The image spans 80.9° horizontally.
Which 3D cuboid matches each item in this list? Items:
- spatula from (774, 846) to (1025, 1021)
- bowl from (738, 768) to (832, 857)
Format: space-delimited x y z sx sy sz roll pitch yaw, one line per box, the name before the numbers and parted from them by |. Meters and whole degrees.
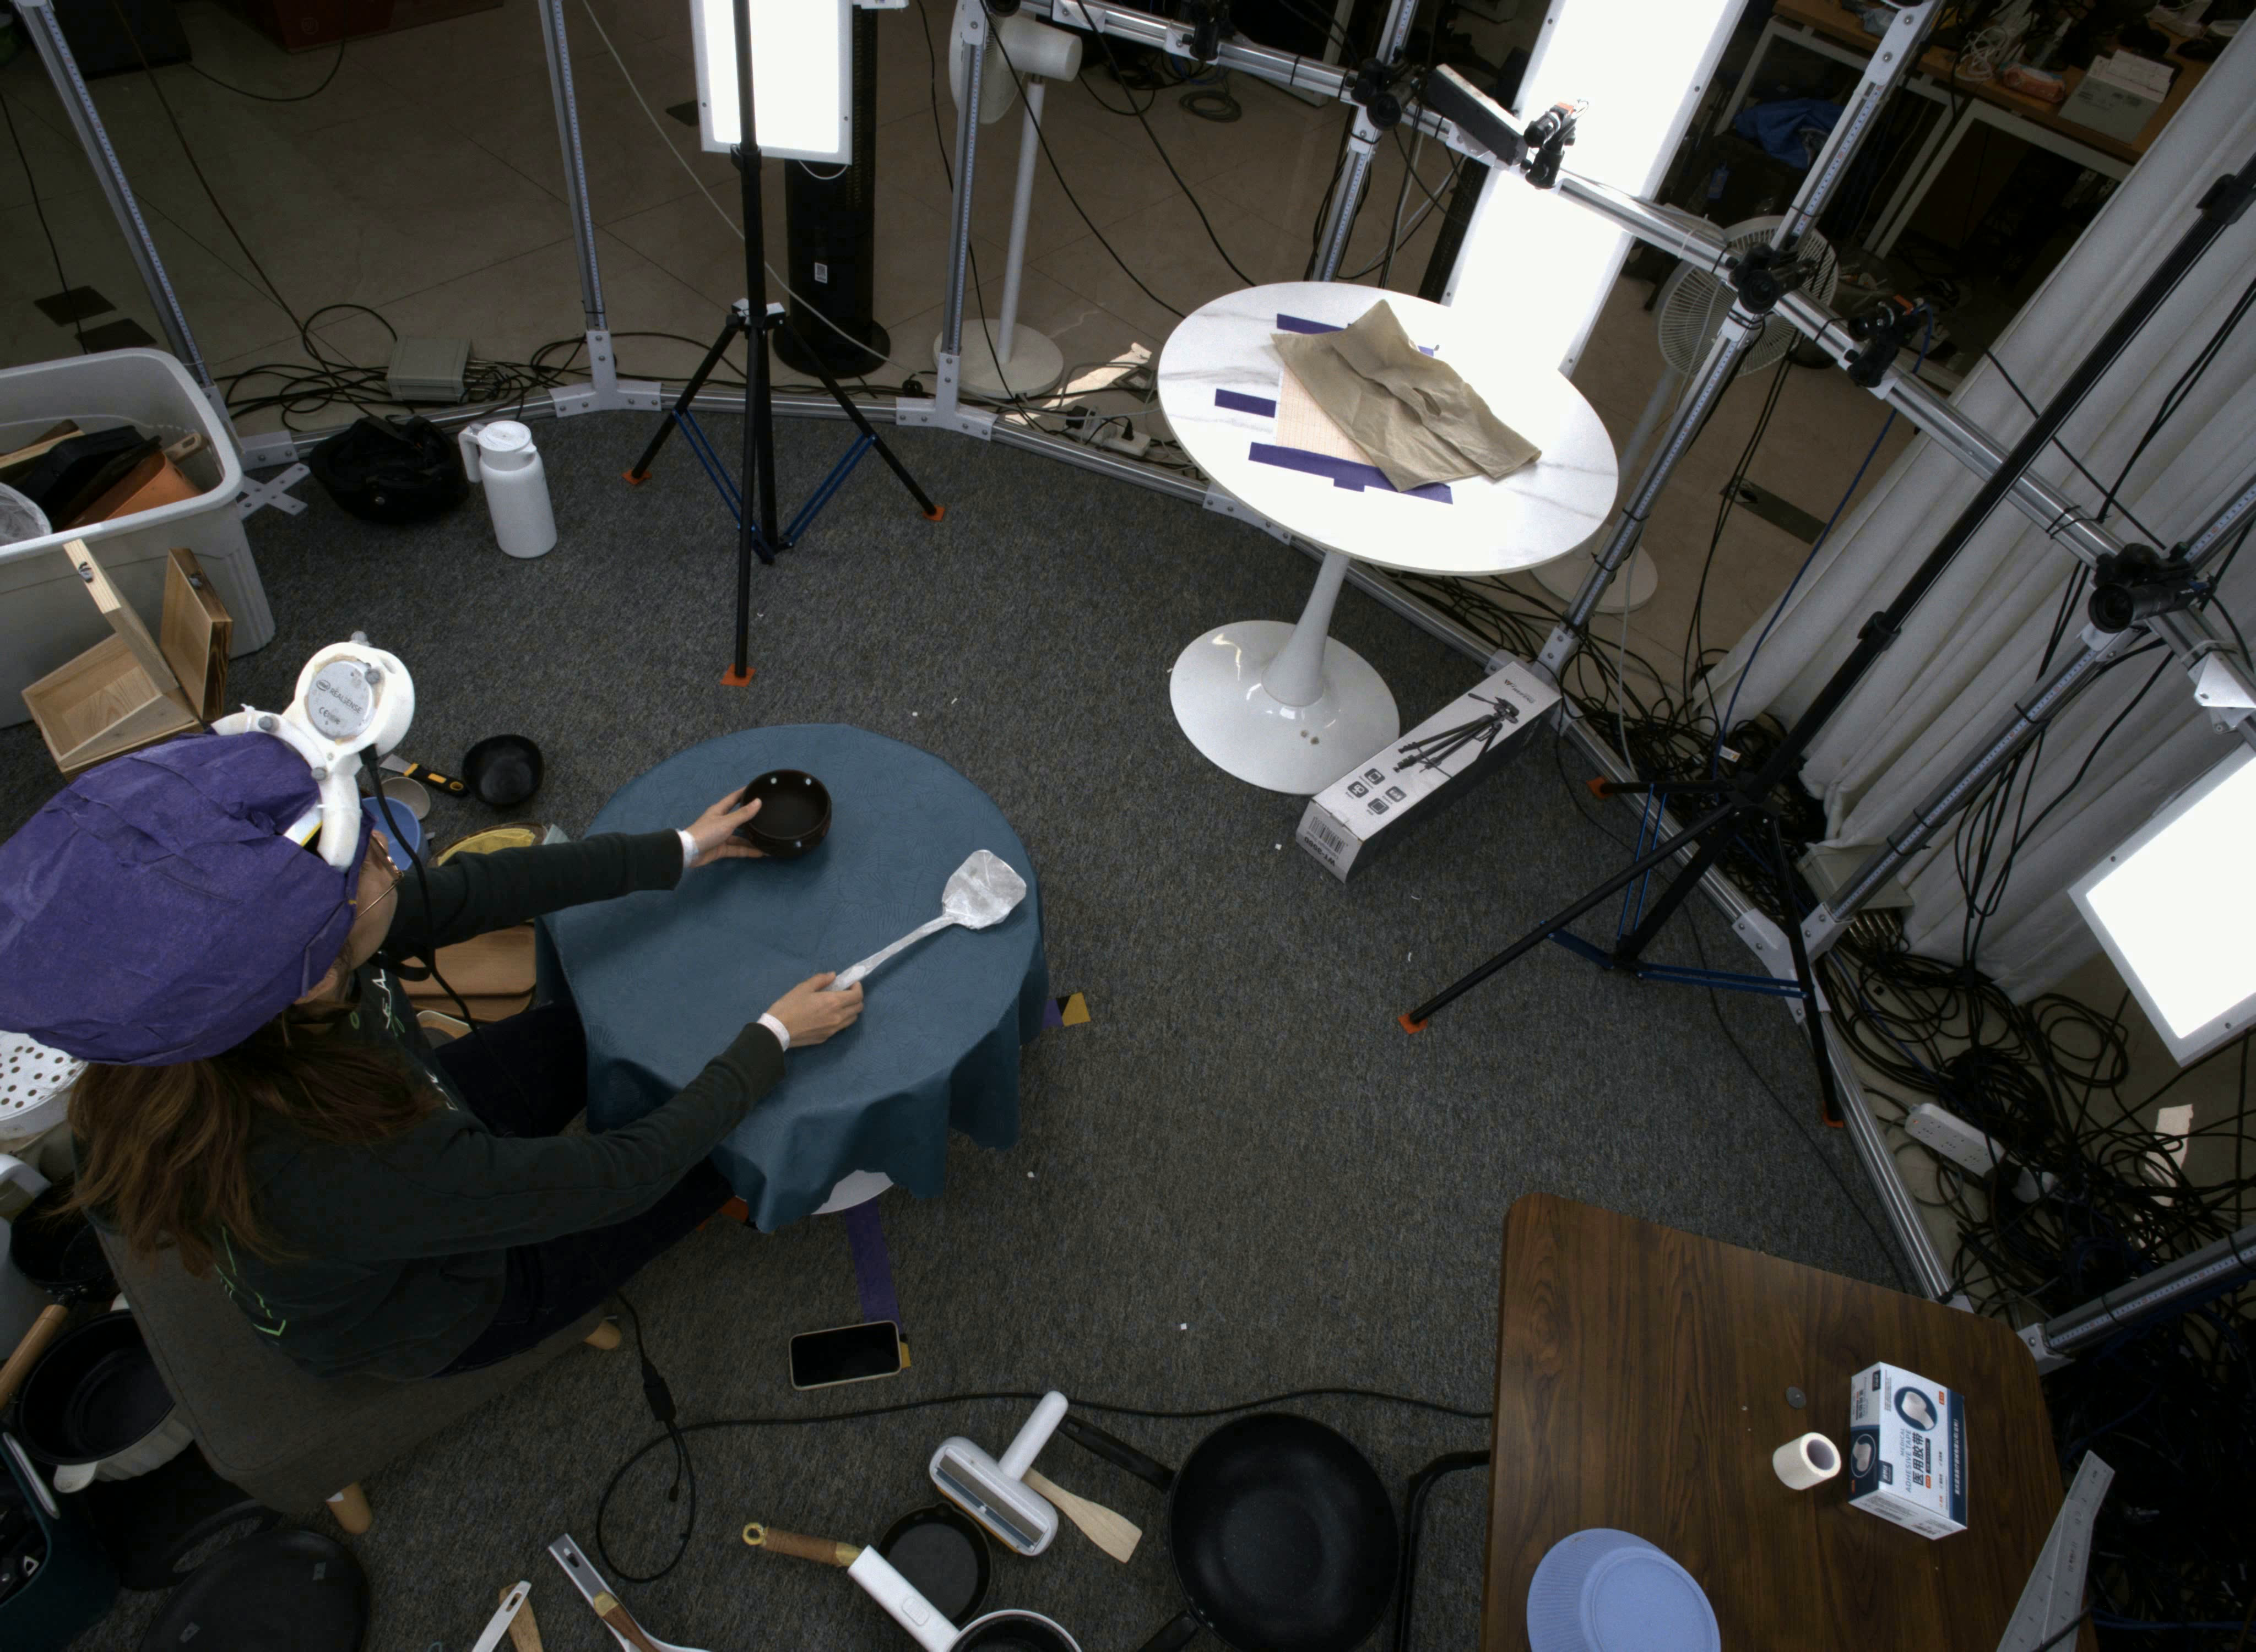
spatula | -0.285 0.140 1.628 0.096 0.045 0.366 43 51 19
bowl | -0.444 -0.010 1.685 0.117 0.071 0.116 6 52 -7
